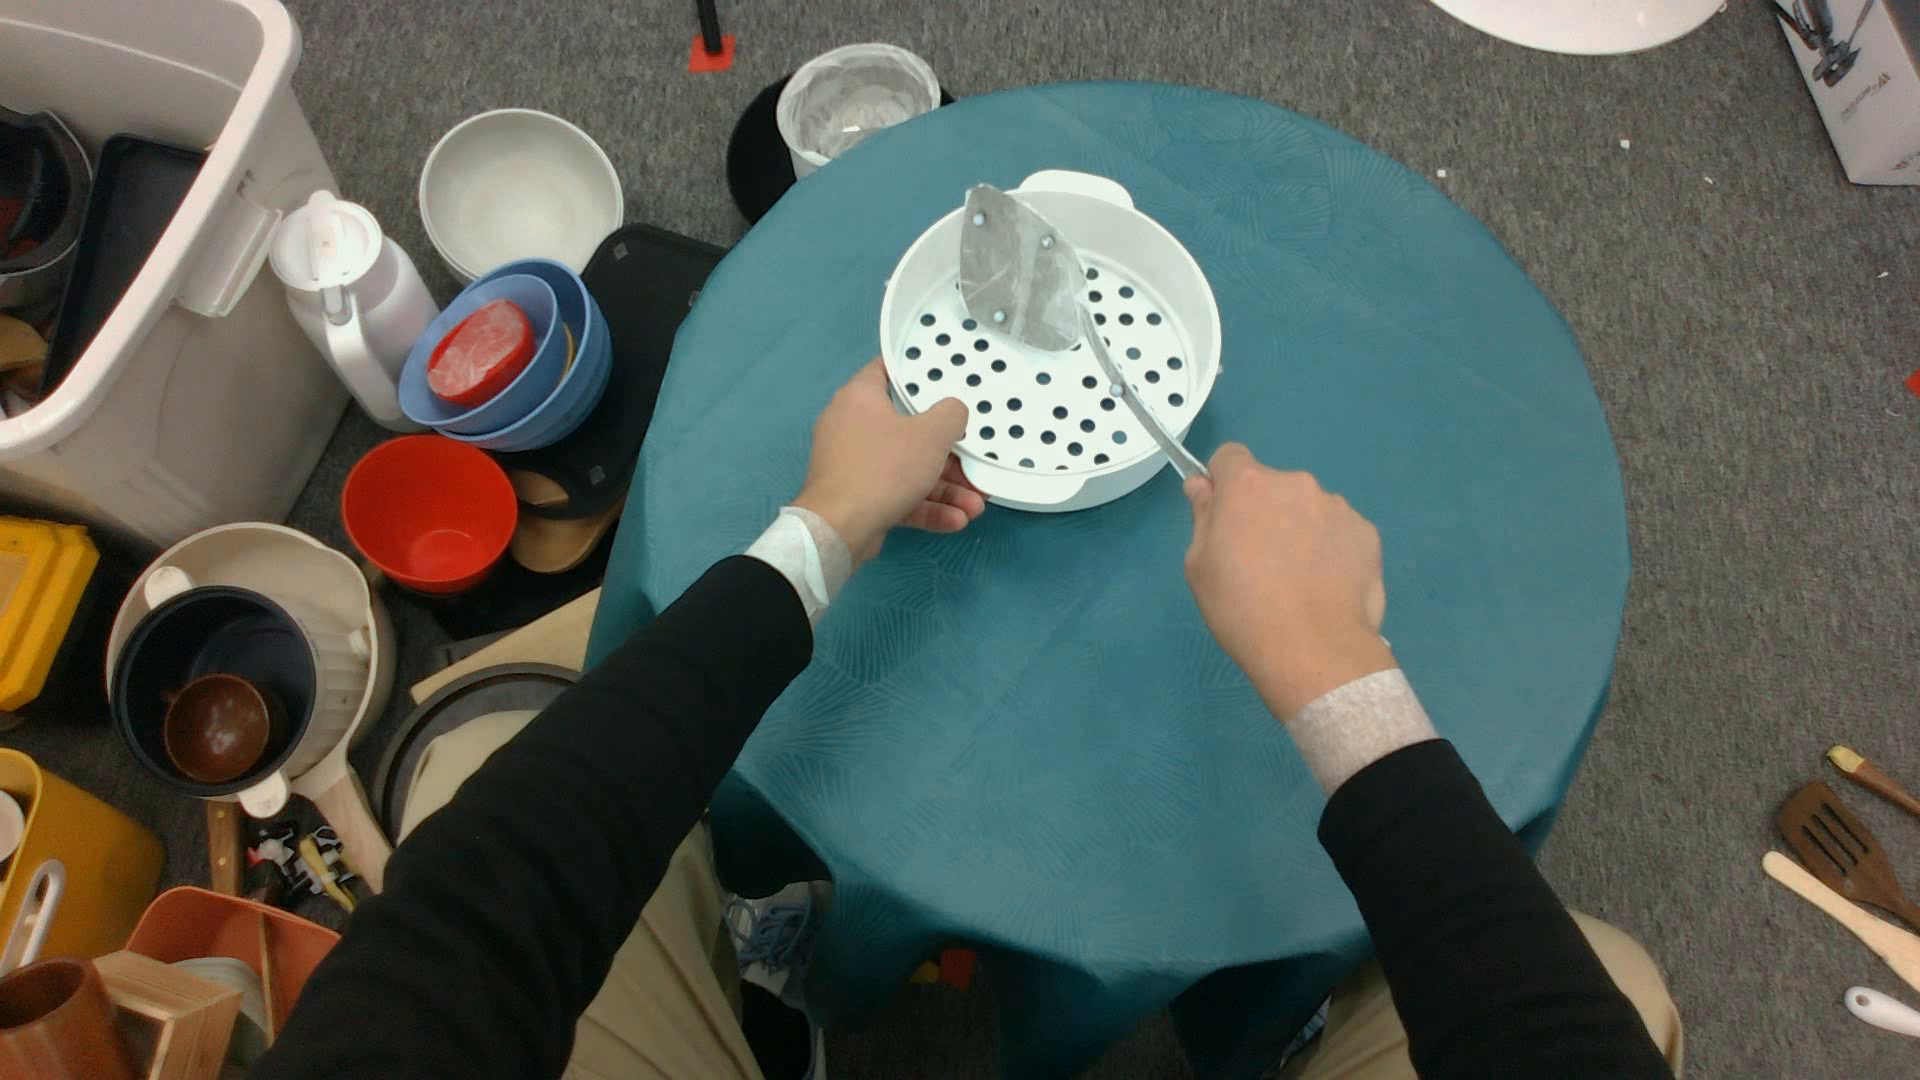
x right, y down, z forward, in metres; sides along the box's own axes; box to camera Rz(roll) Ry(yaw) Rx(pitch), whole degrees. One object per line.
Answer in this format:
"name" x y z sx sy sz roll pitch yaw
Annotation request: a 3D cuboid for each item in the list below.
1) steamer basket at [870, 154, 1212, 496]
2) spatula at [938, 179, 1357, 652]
"steamer basket" 0.048 -0.124 0.837 0.202 0.069 0.231 10 67 4
"spatula" 0.090 -0.071 0.750 0.045 0.098 0.365 -16 51 -23
